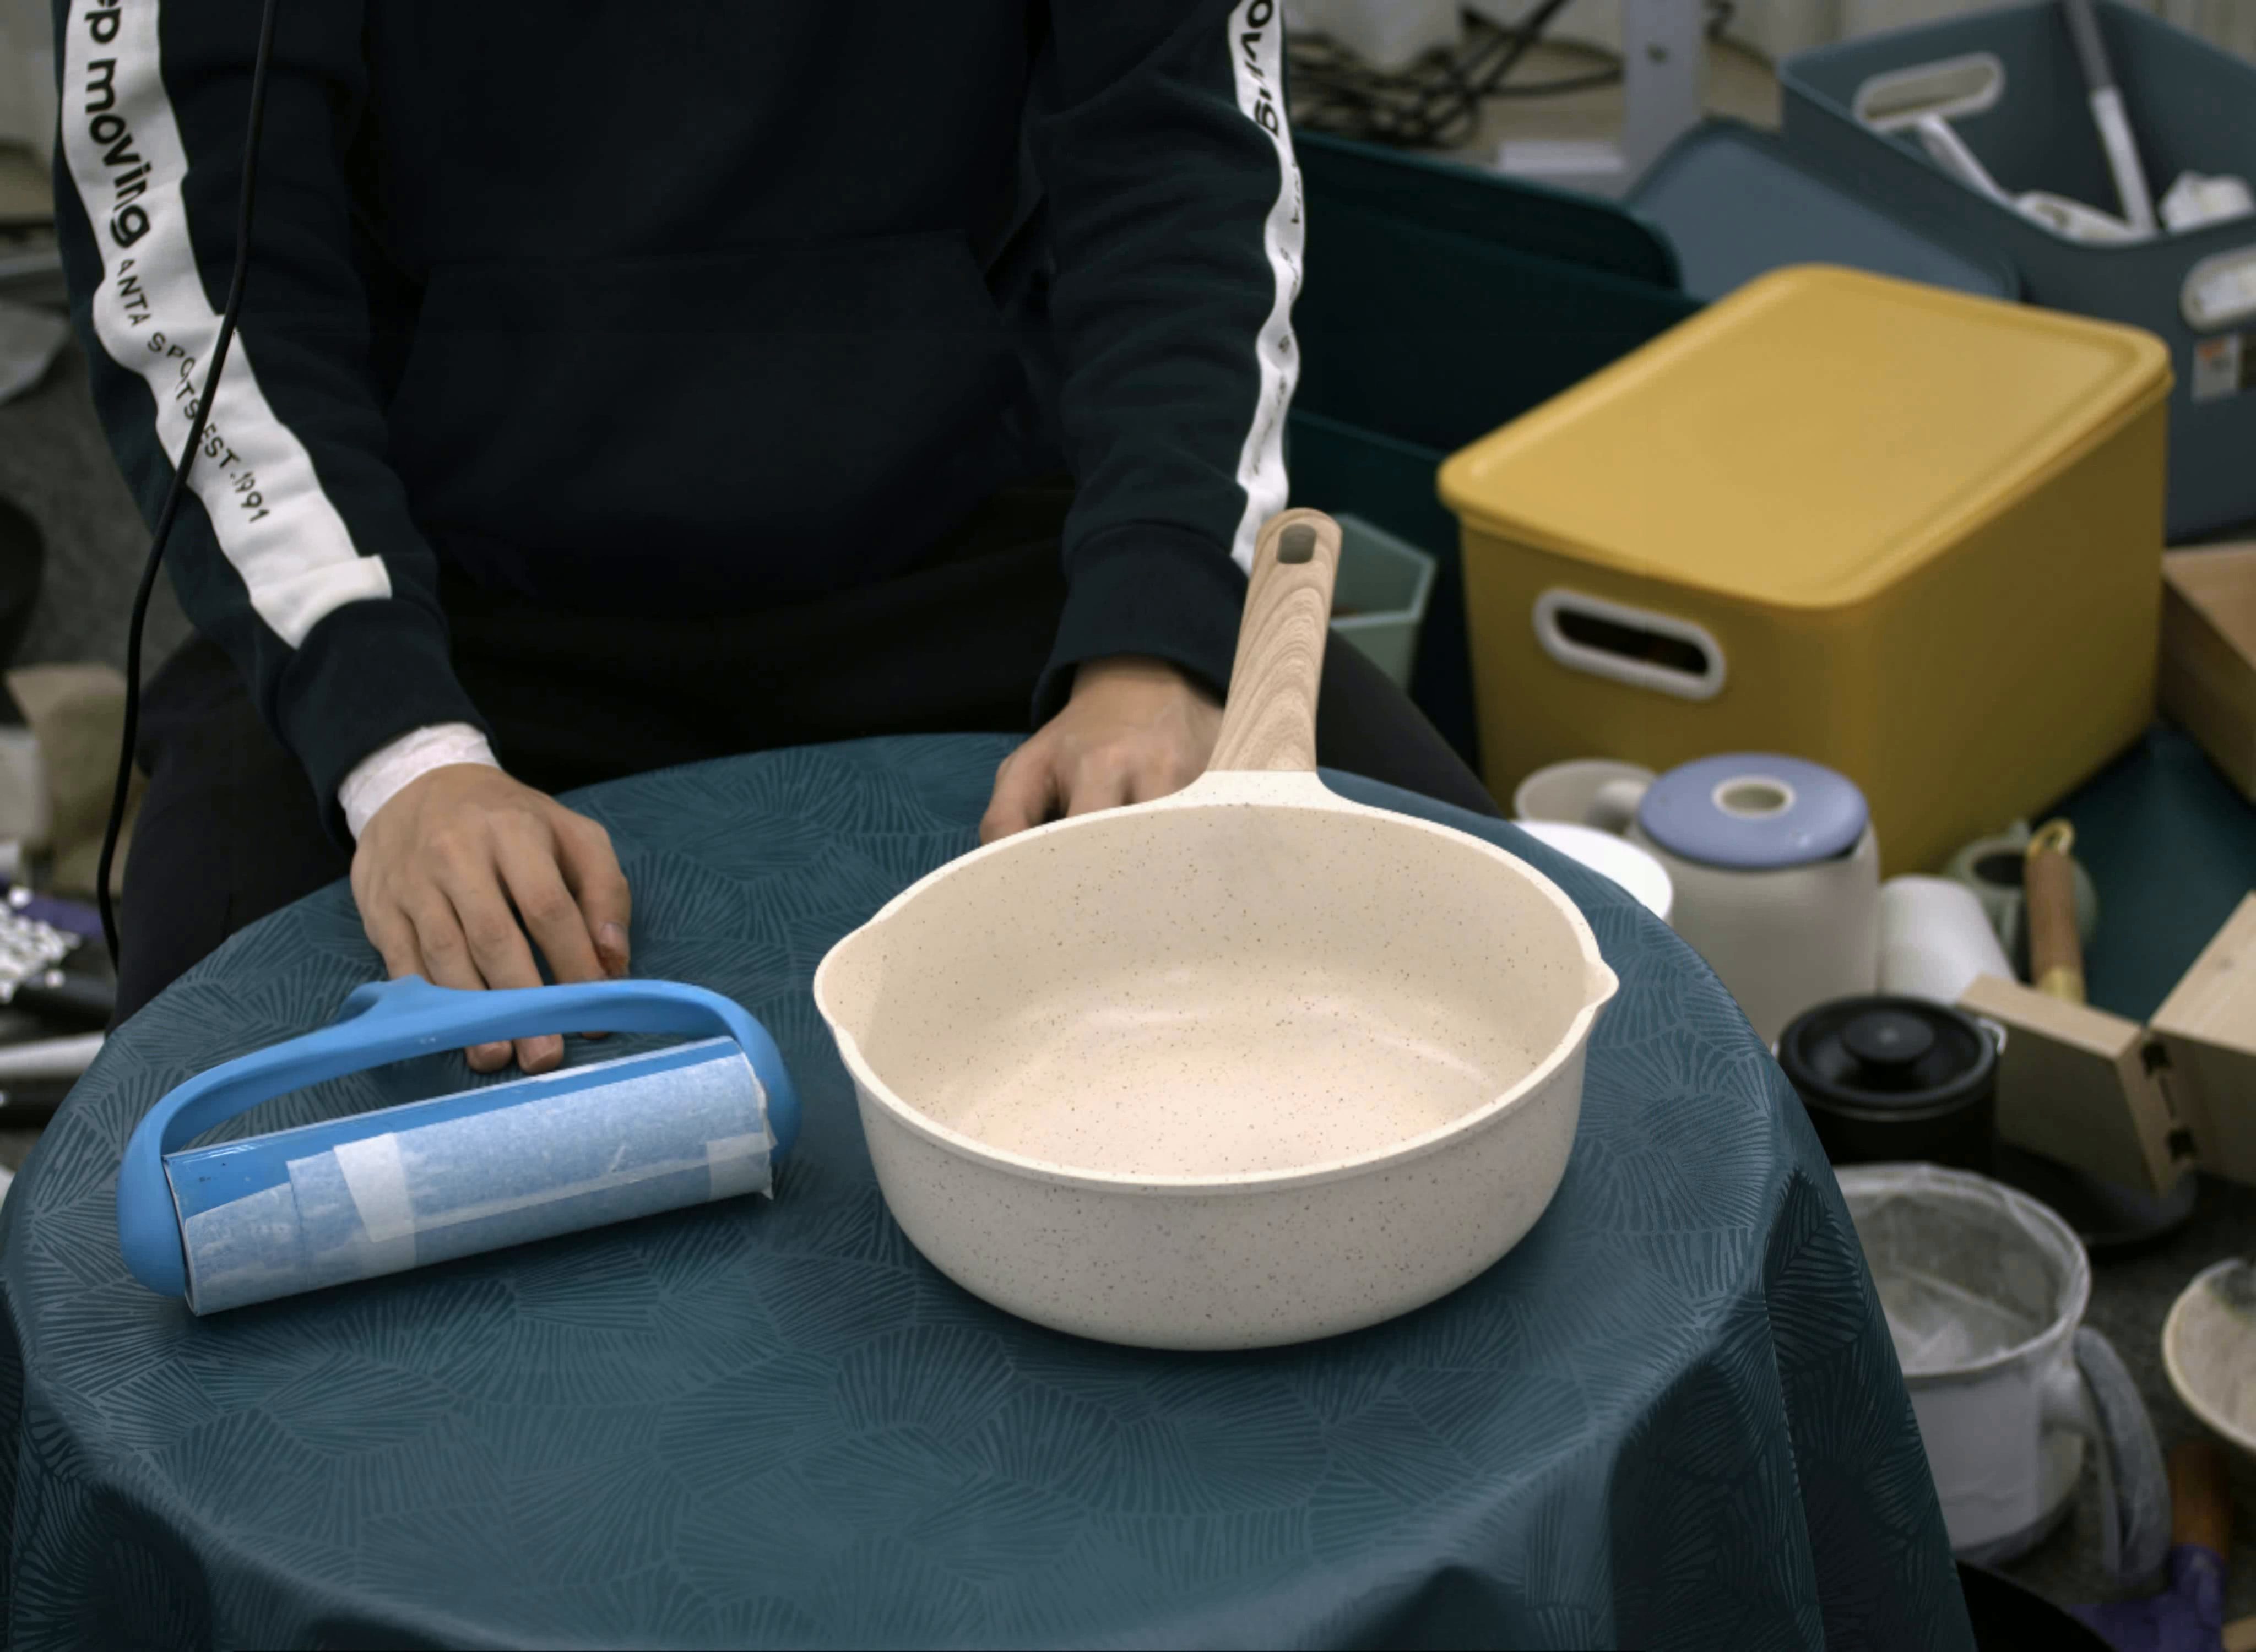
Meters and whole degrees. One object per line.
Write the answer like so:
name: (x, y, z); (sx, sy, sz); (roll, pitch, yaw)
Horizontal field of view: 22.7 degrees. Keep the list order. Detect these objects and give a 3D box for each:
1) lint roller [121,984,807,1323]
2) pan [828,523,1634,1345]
lint roller: (-0.238, 0.089, 1.886); (0.229, 0.067, 0.181); (-14, 30, -18)
pan: (0.044, 0.034, 1.918); (0.262, 0.101, 0.442); (-1, 27, 7)
